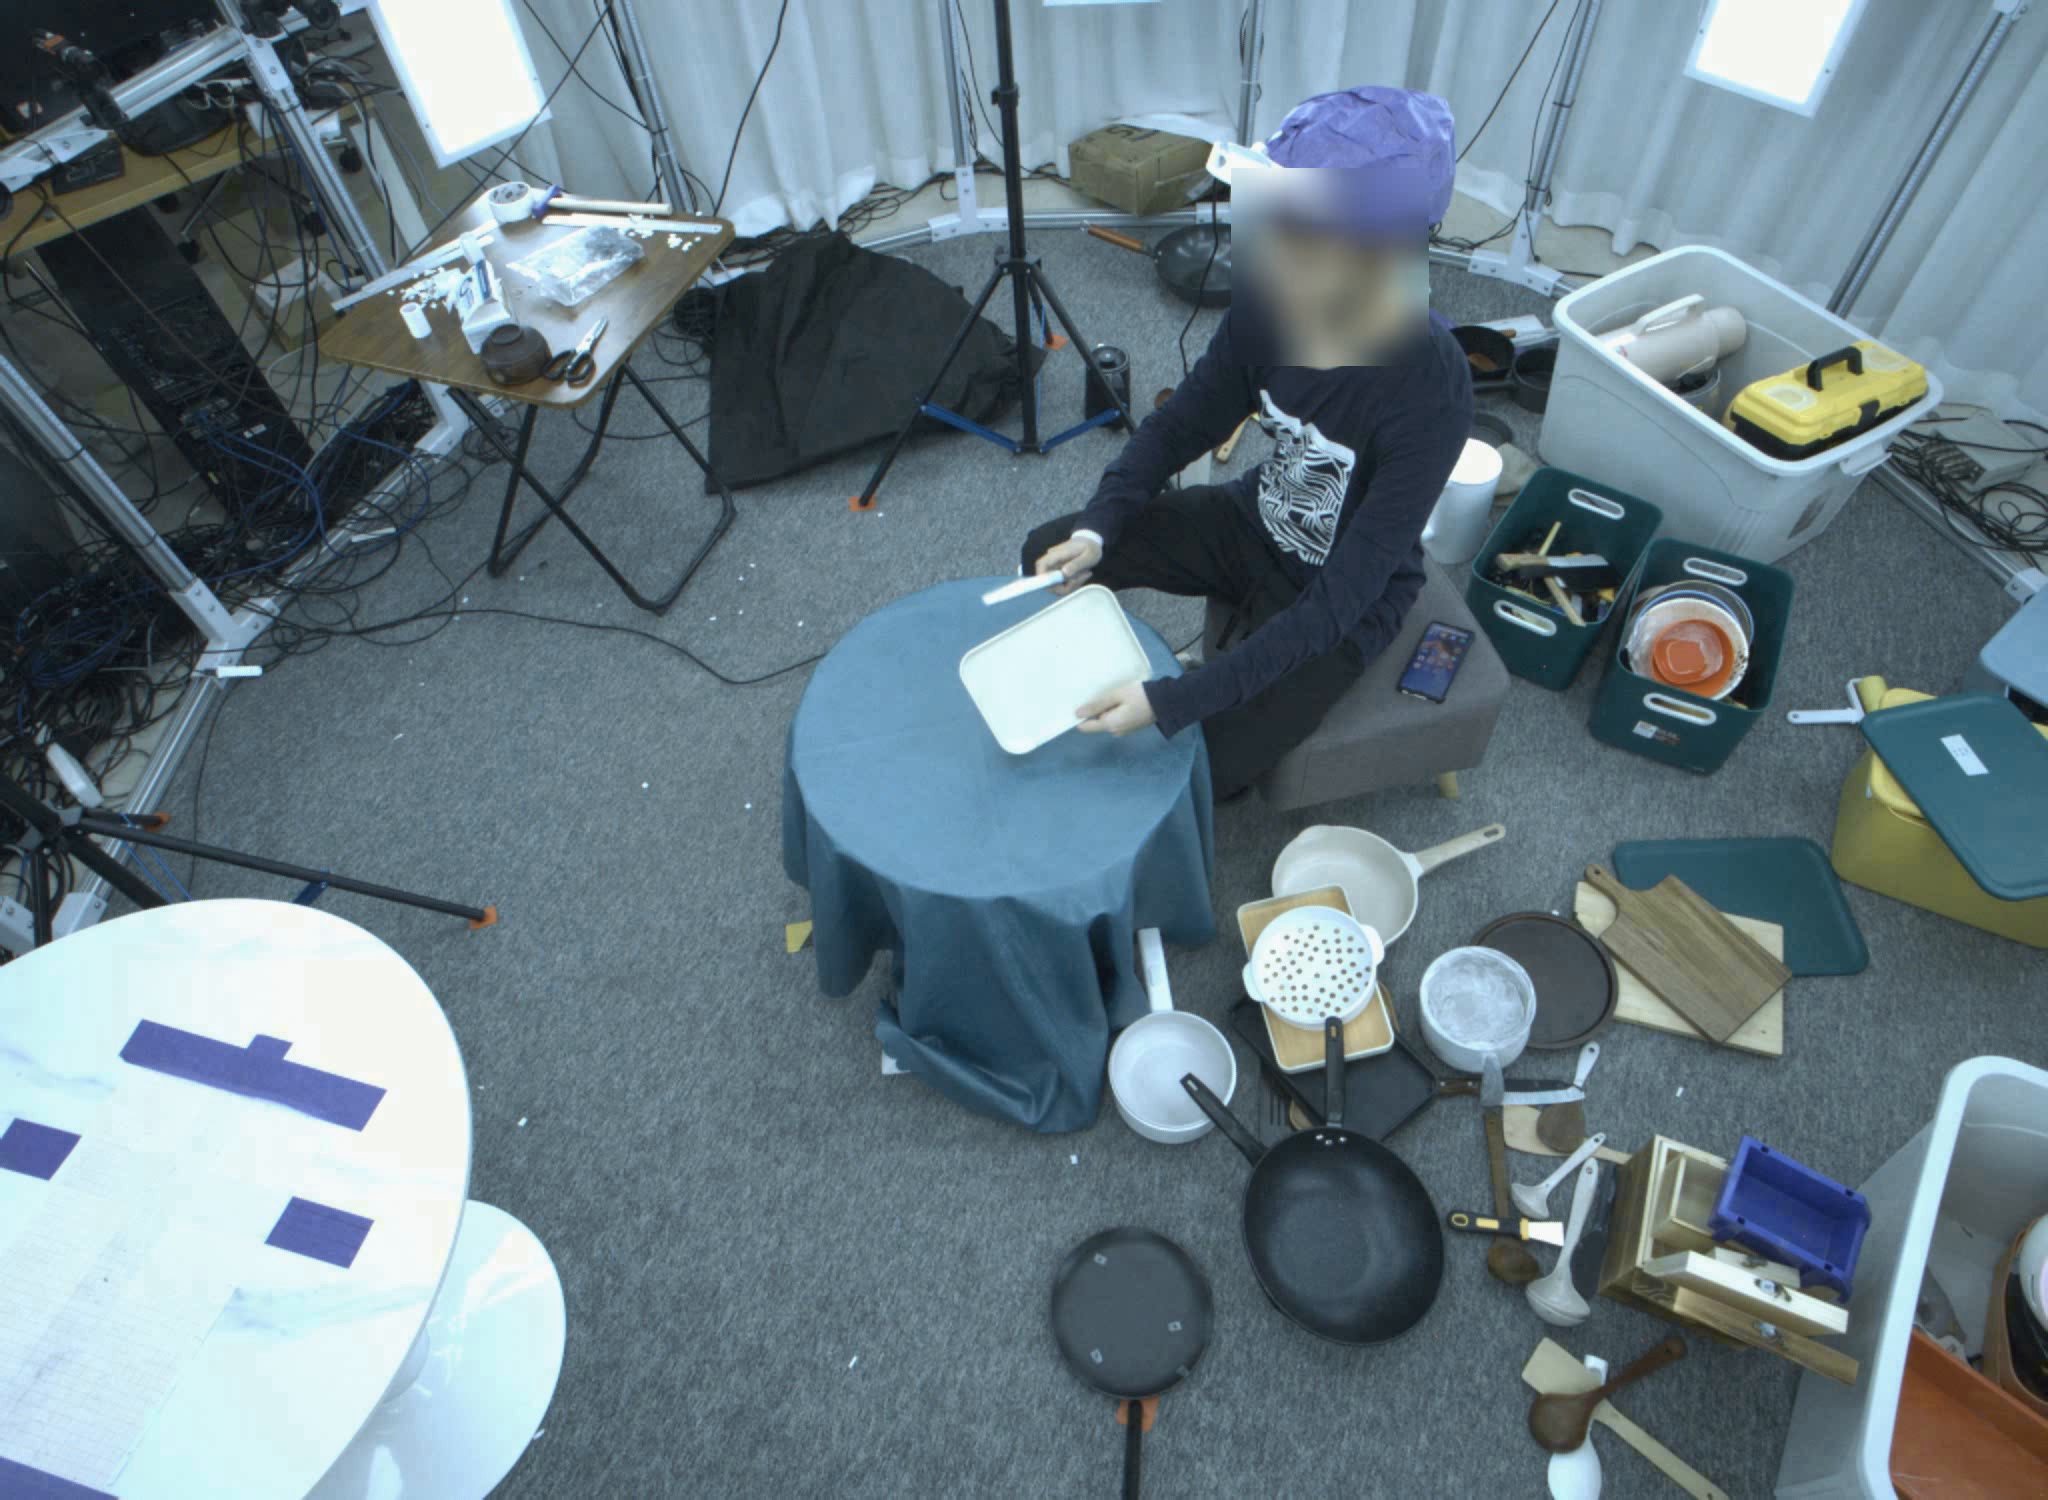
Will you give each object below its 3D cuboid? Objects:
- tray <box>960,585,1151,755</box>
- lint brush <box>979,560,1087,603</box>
[{"bbox_3d":[0.044,-0.112,1.715,0.239,0.173,0.017,-30,22,2],"label":"tray"},{"bbox_3d":[0.022,-0.243,1.745,0.059,0.021,0.312,-21,5,29],"label":"lint brush"}]
